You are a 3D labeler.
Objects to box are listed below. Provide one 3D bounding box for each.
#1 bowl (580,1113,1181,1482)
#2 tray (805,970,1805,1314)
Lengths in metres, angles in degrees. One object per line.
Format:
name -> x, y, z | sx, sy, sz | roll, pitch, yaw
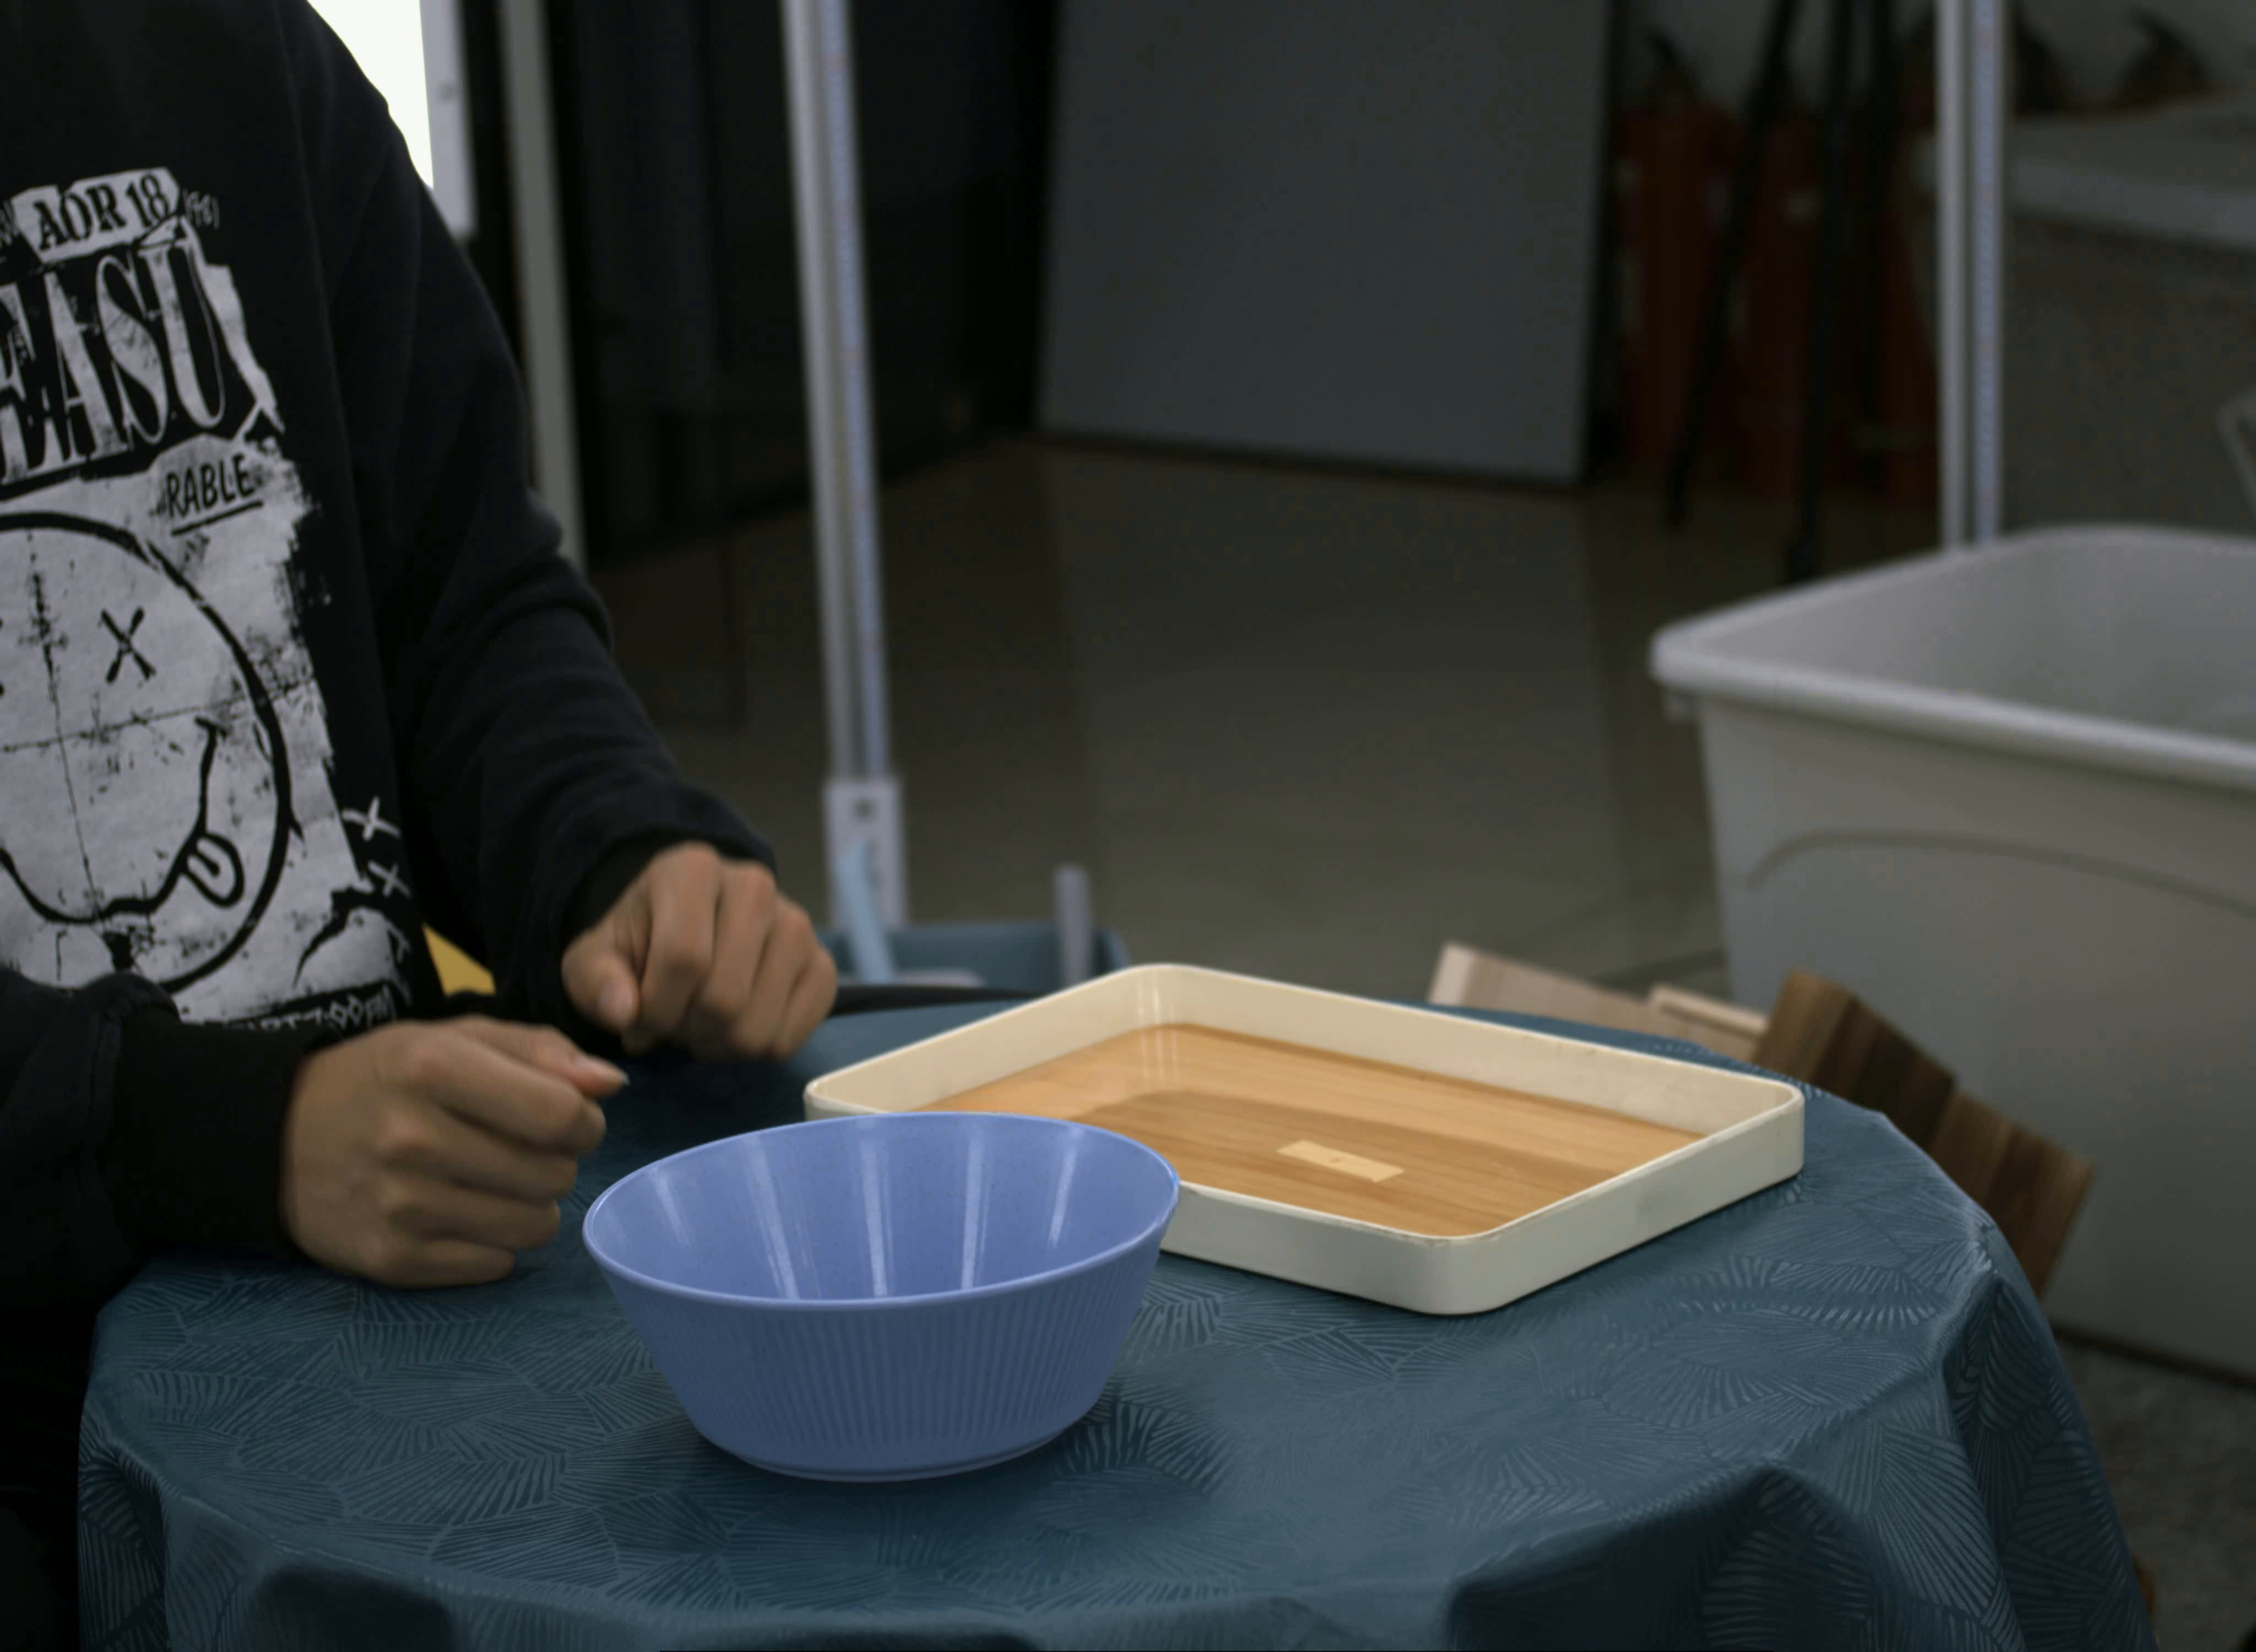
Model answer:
bowl -> -0.070, 0.139, 1.569 | 0.174, 0.071, 0.176 | -3, 14, 0
tray -> 0.056, 0.101, 1.783 | 0.303, 0.028, 0.188 | 9, 19, 43
